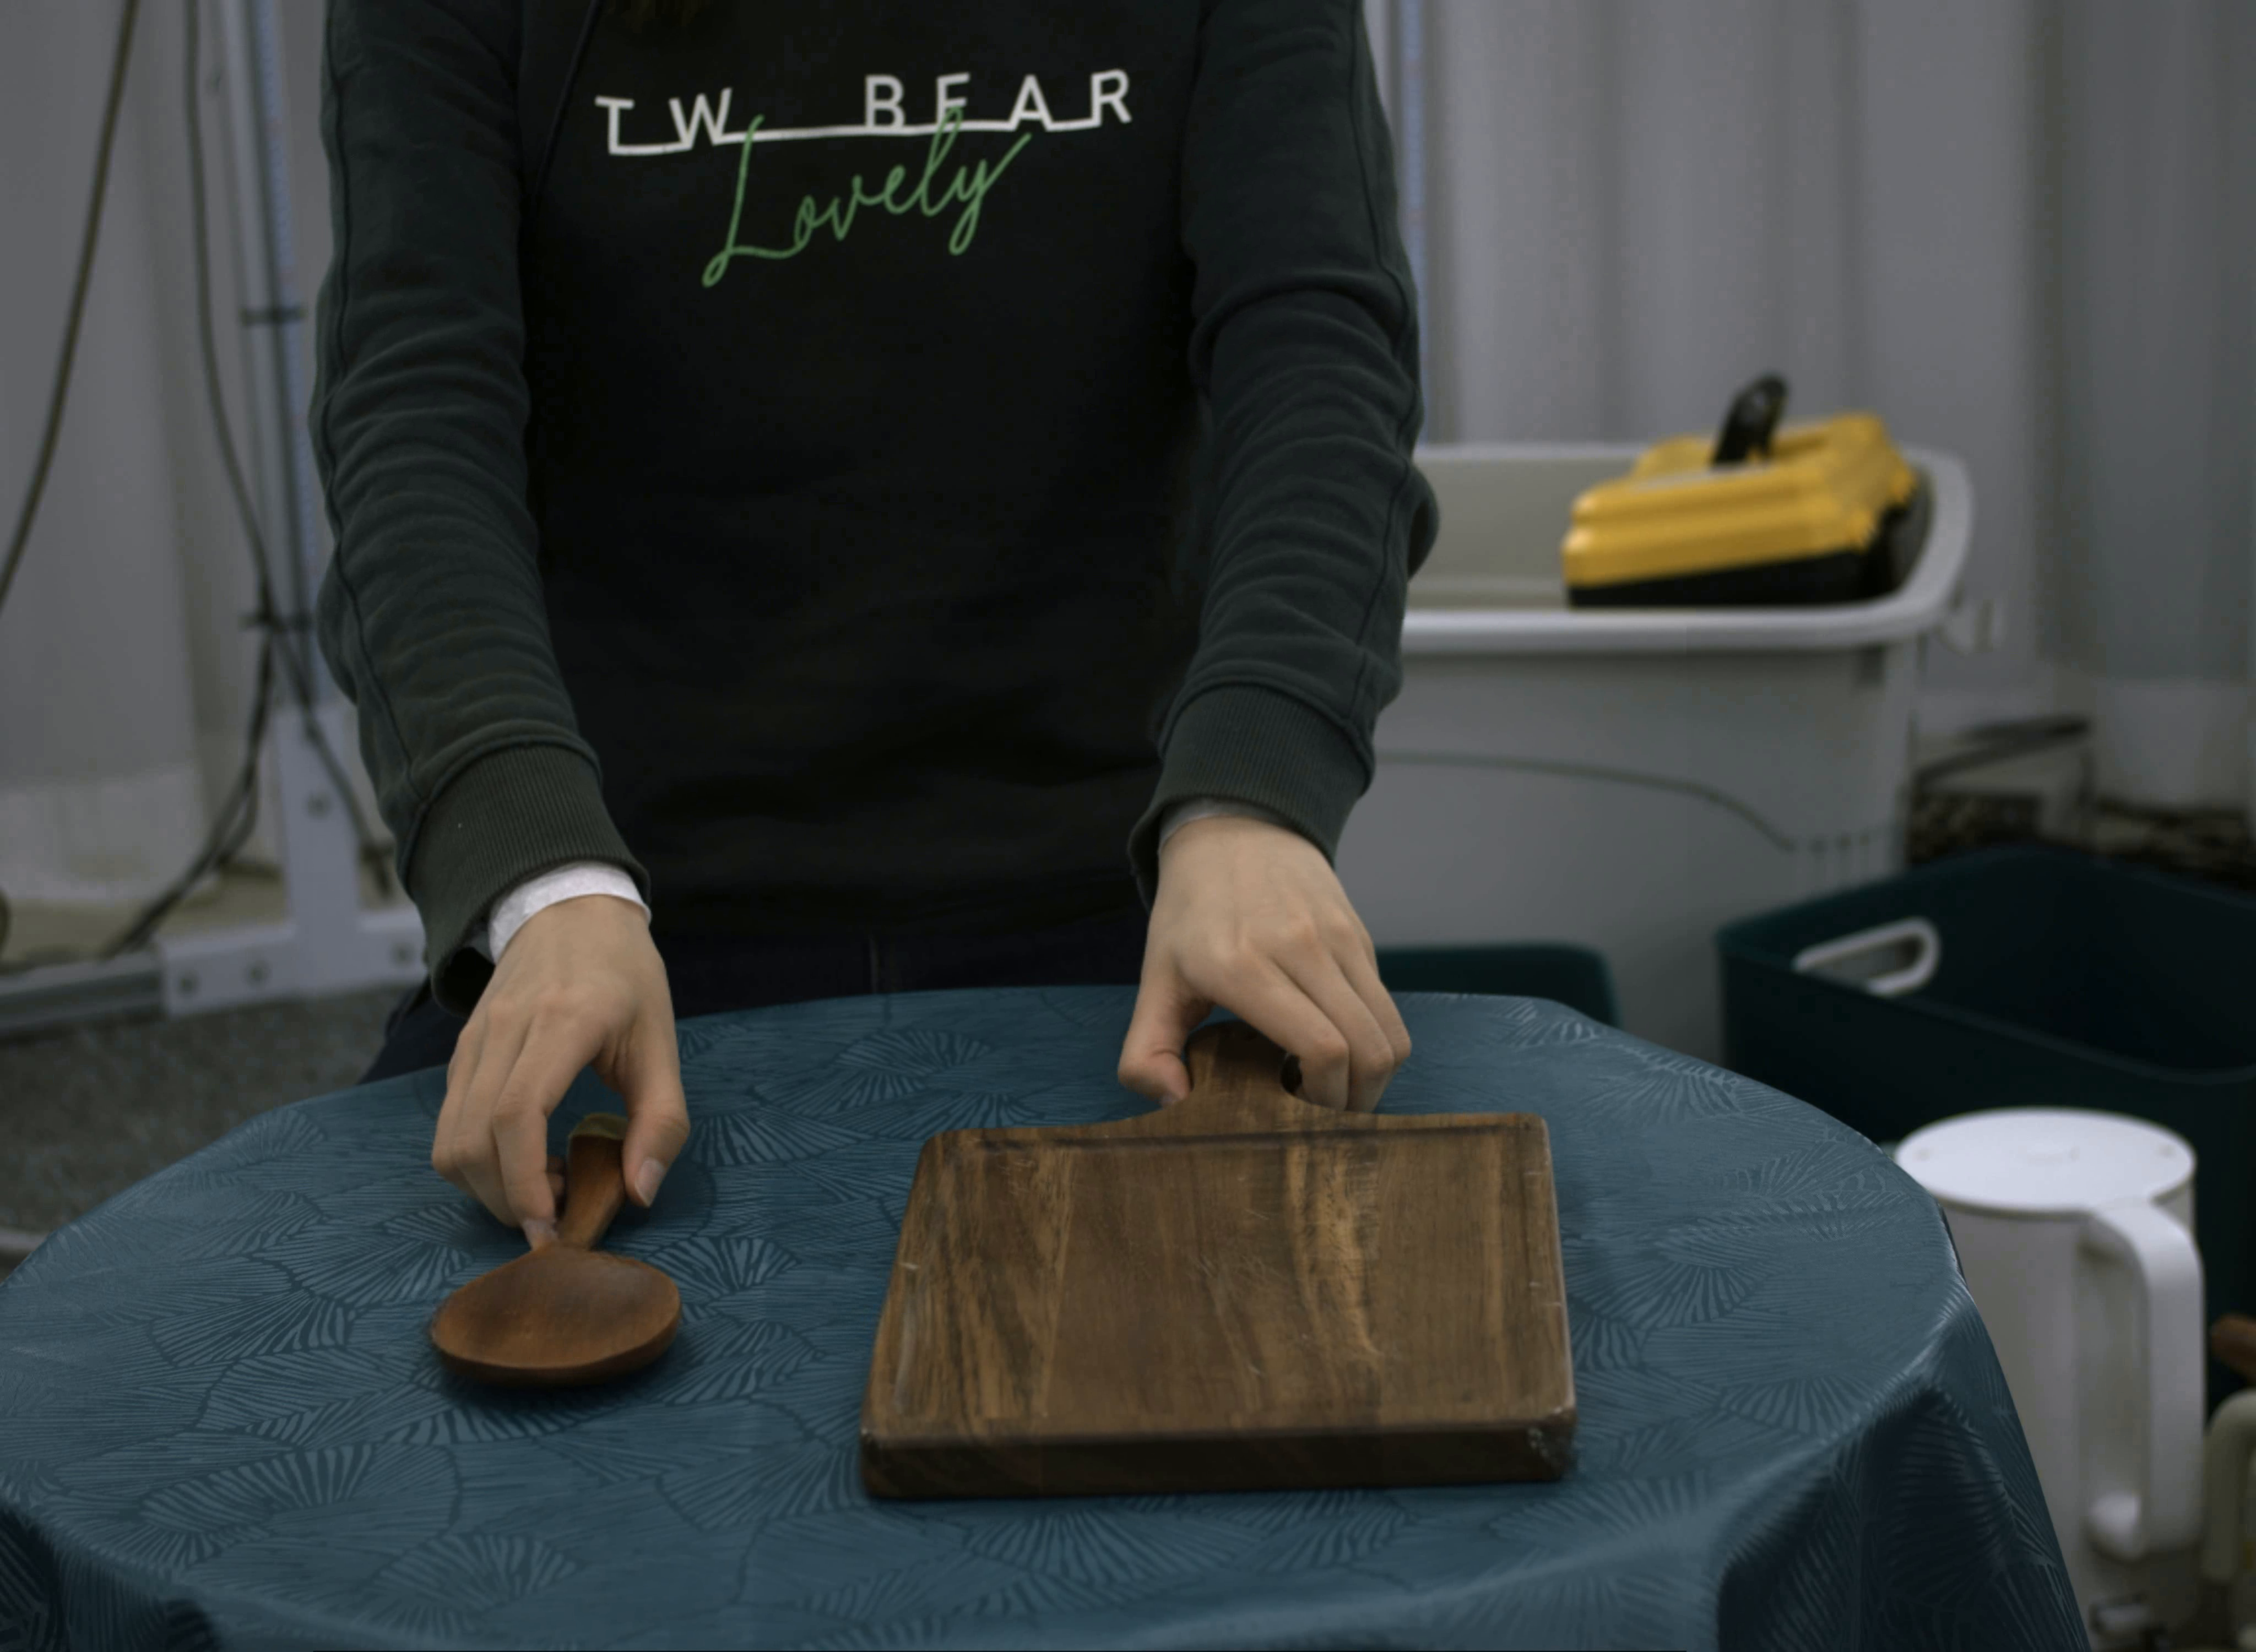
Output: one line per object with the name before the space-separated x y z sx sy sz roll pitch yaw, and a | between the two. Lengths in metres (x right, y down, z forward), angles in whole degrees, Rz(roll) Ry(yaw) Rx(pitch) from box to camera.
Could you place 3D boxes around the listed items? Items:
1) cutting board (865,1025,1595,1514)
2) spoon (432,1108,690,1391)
cutting board | 0.031 0.124 1.630 0.200 0.023 0.354 -3 16 3
spoon | -0.165 0.129 1.651 0.075 0.017 0.217 -5 17 1
